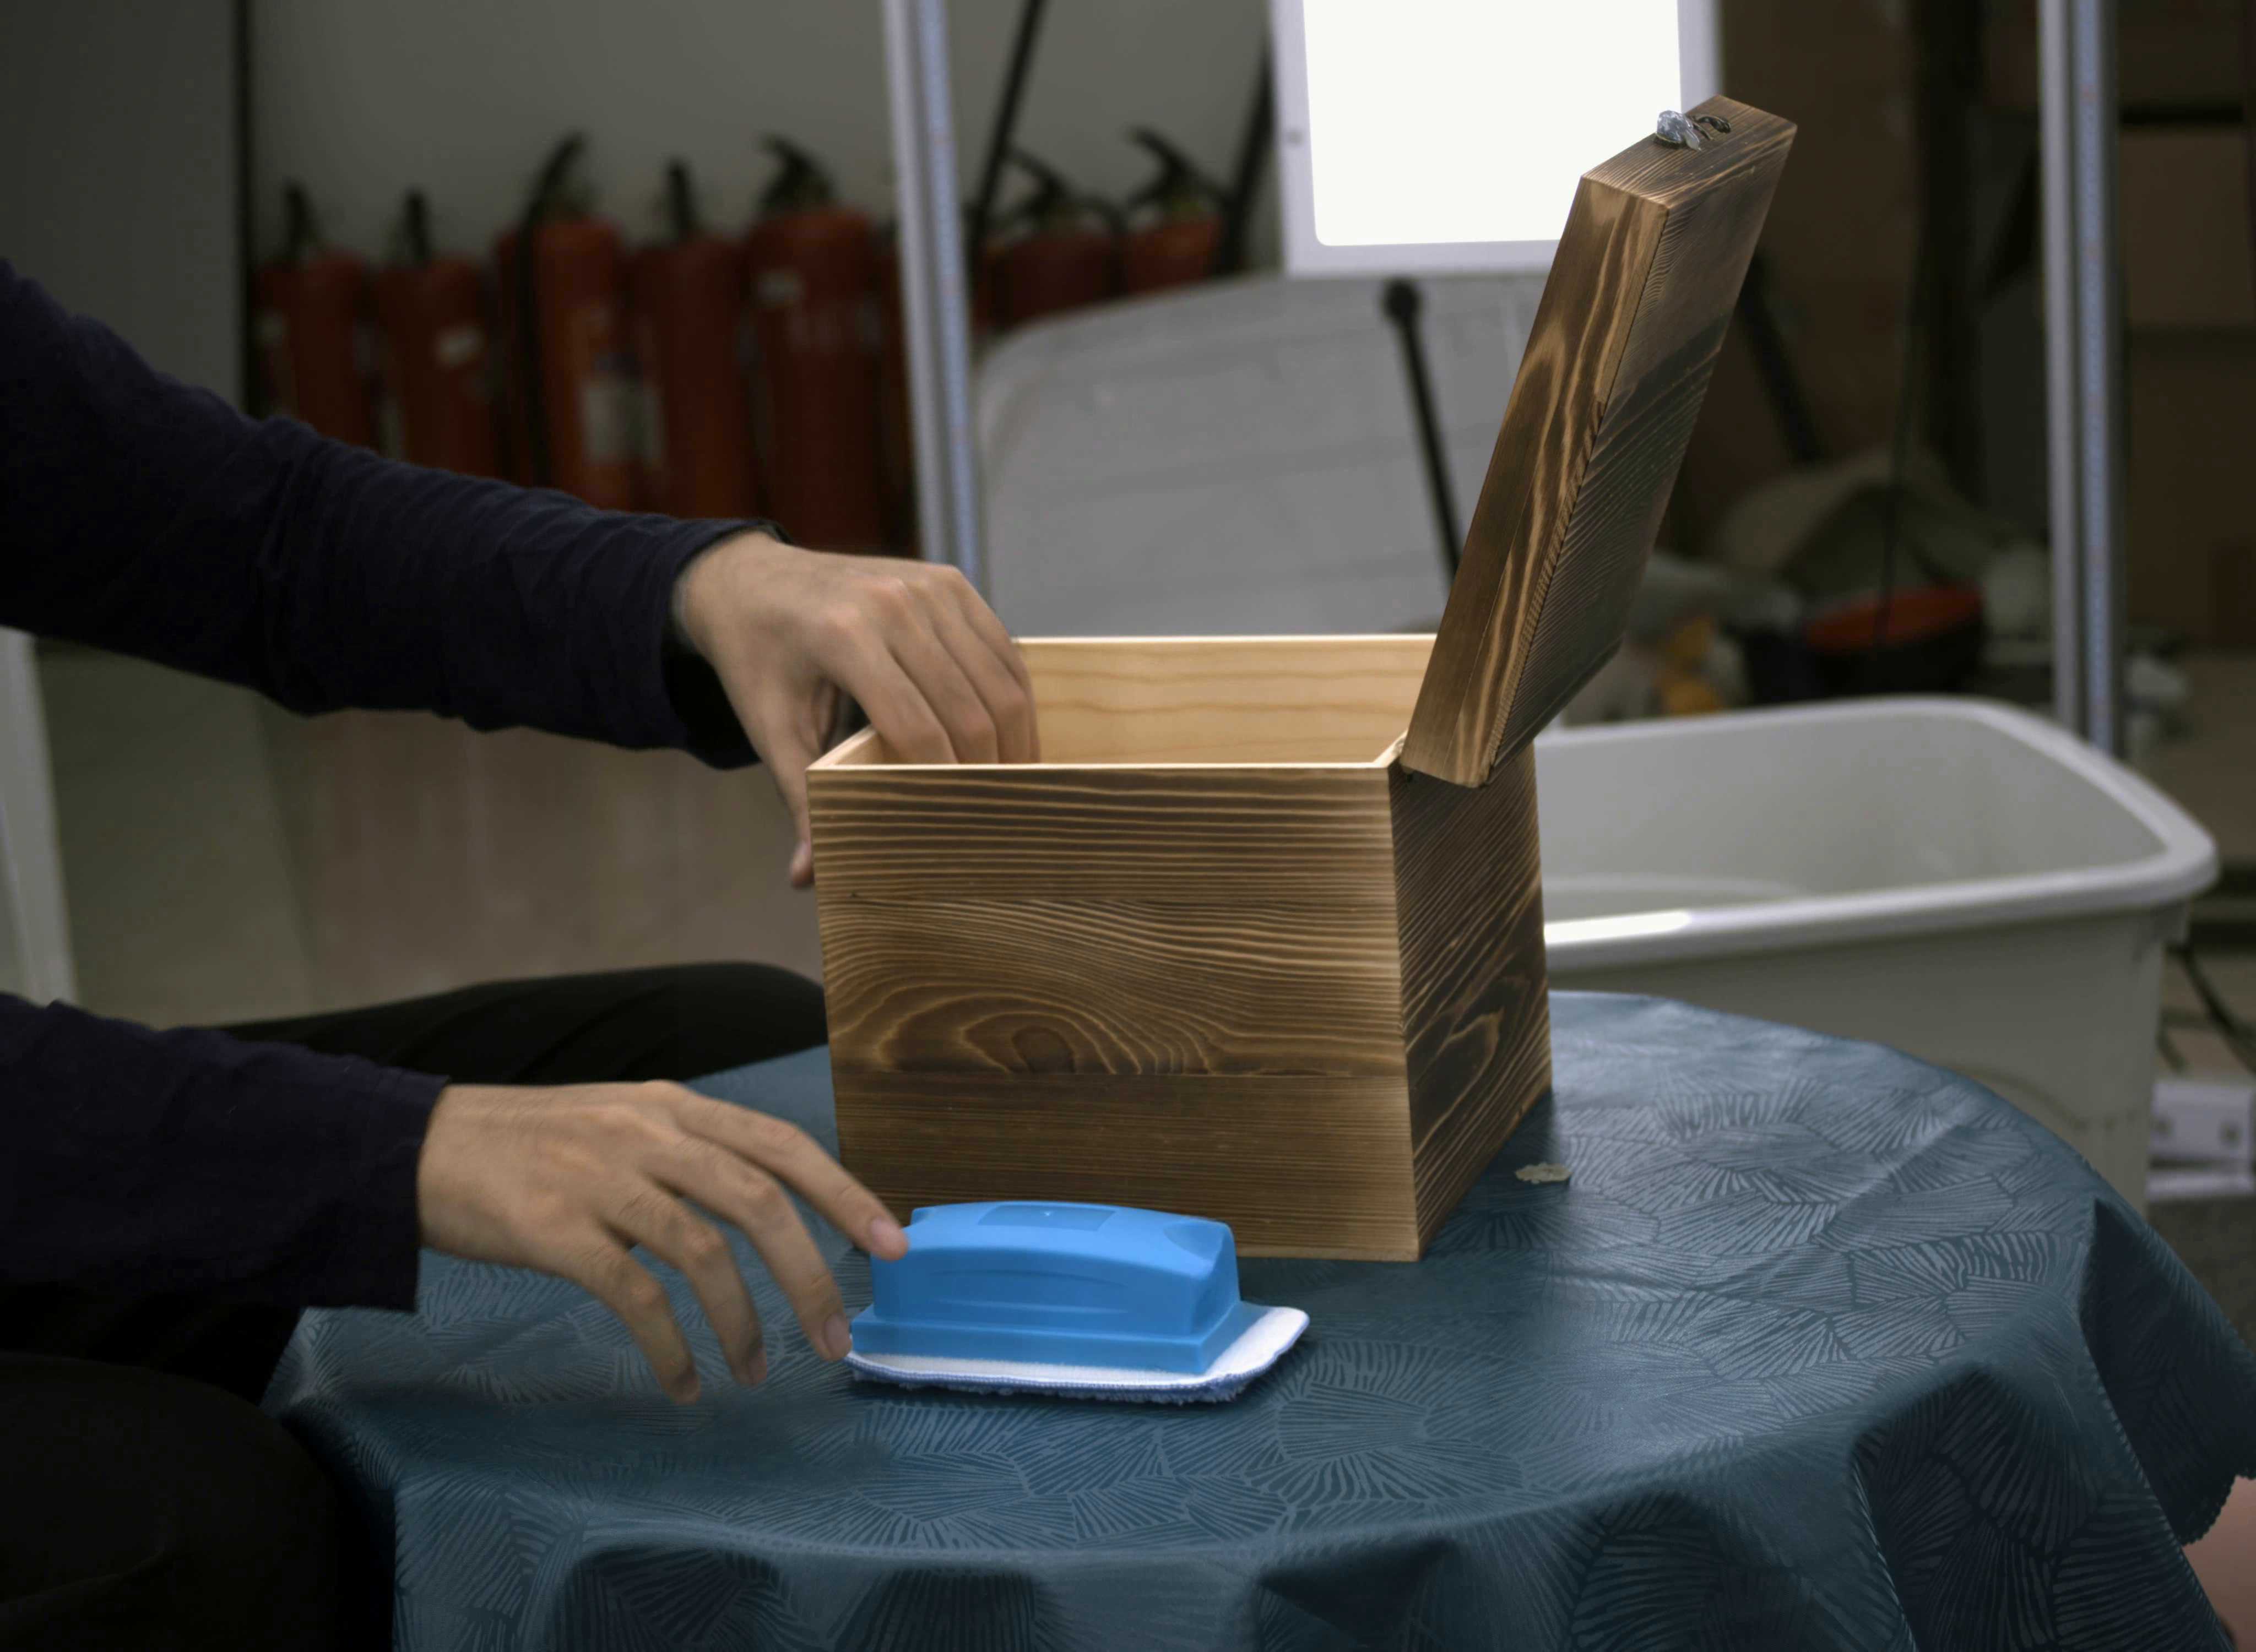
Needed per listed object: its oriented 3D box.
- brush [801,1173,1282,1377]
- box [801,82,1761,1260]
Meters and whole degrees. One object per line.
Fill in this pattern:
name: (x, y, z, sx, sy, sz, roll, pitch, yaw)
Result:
brush: (-0.027, 0.140, 1.726, 0.146, 0.056, 0.082, 4, 13, 26)
box: (0.065, -0.057, 1.864, 0.326, 0.377, 0.205, 0, 14, 19)
